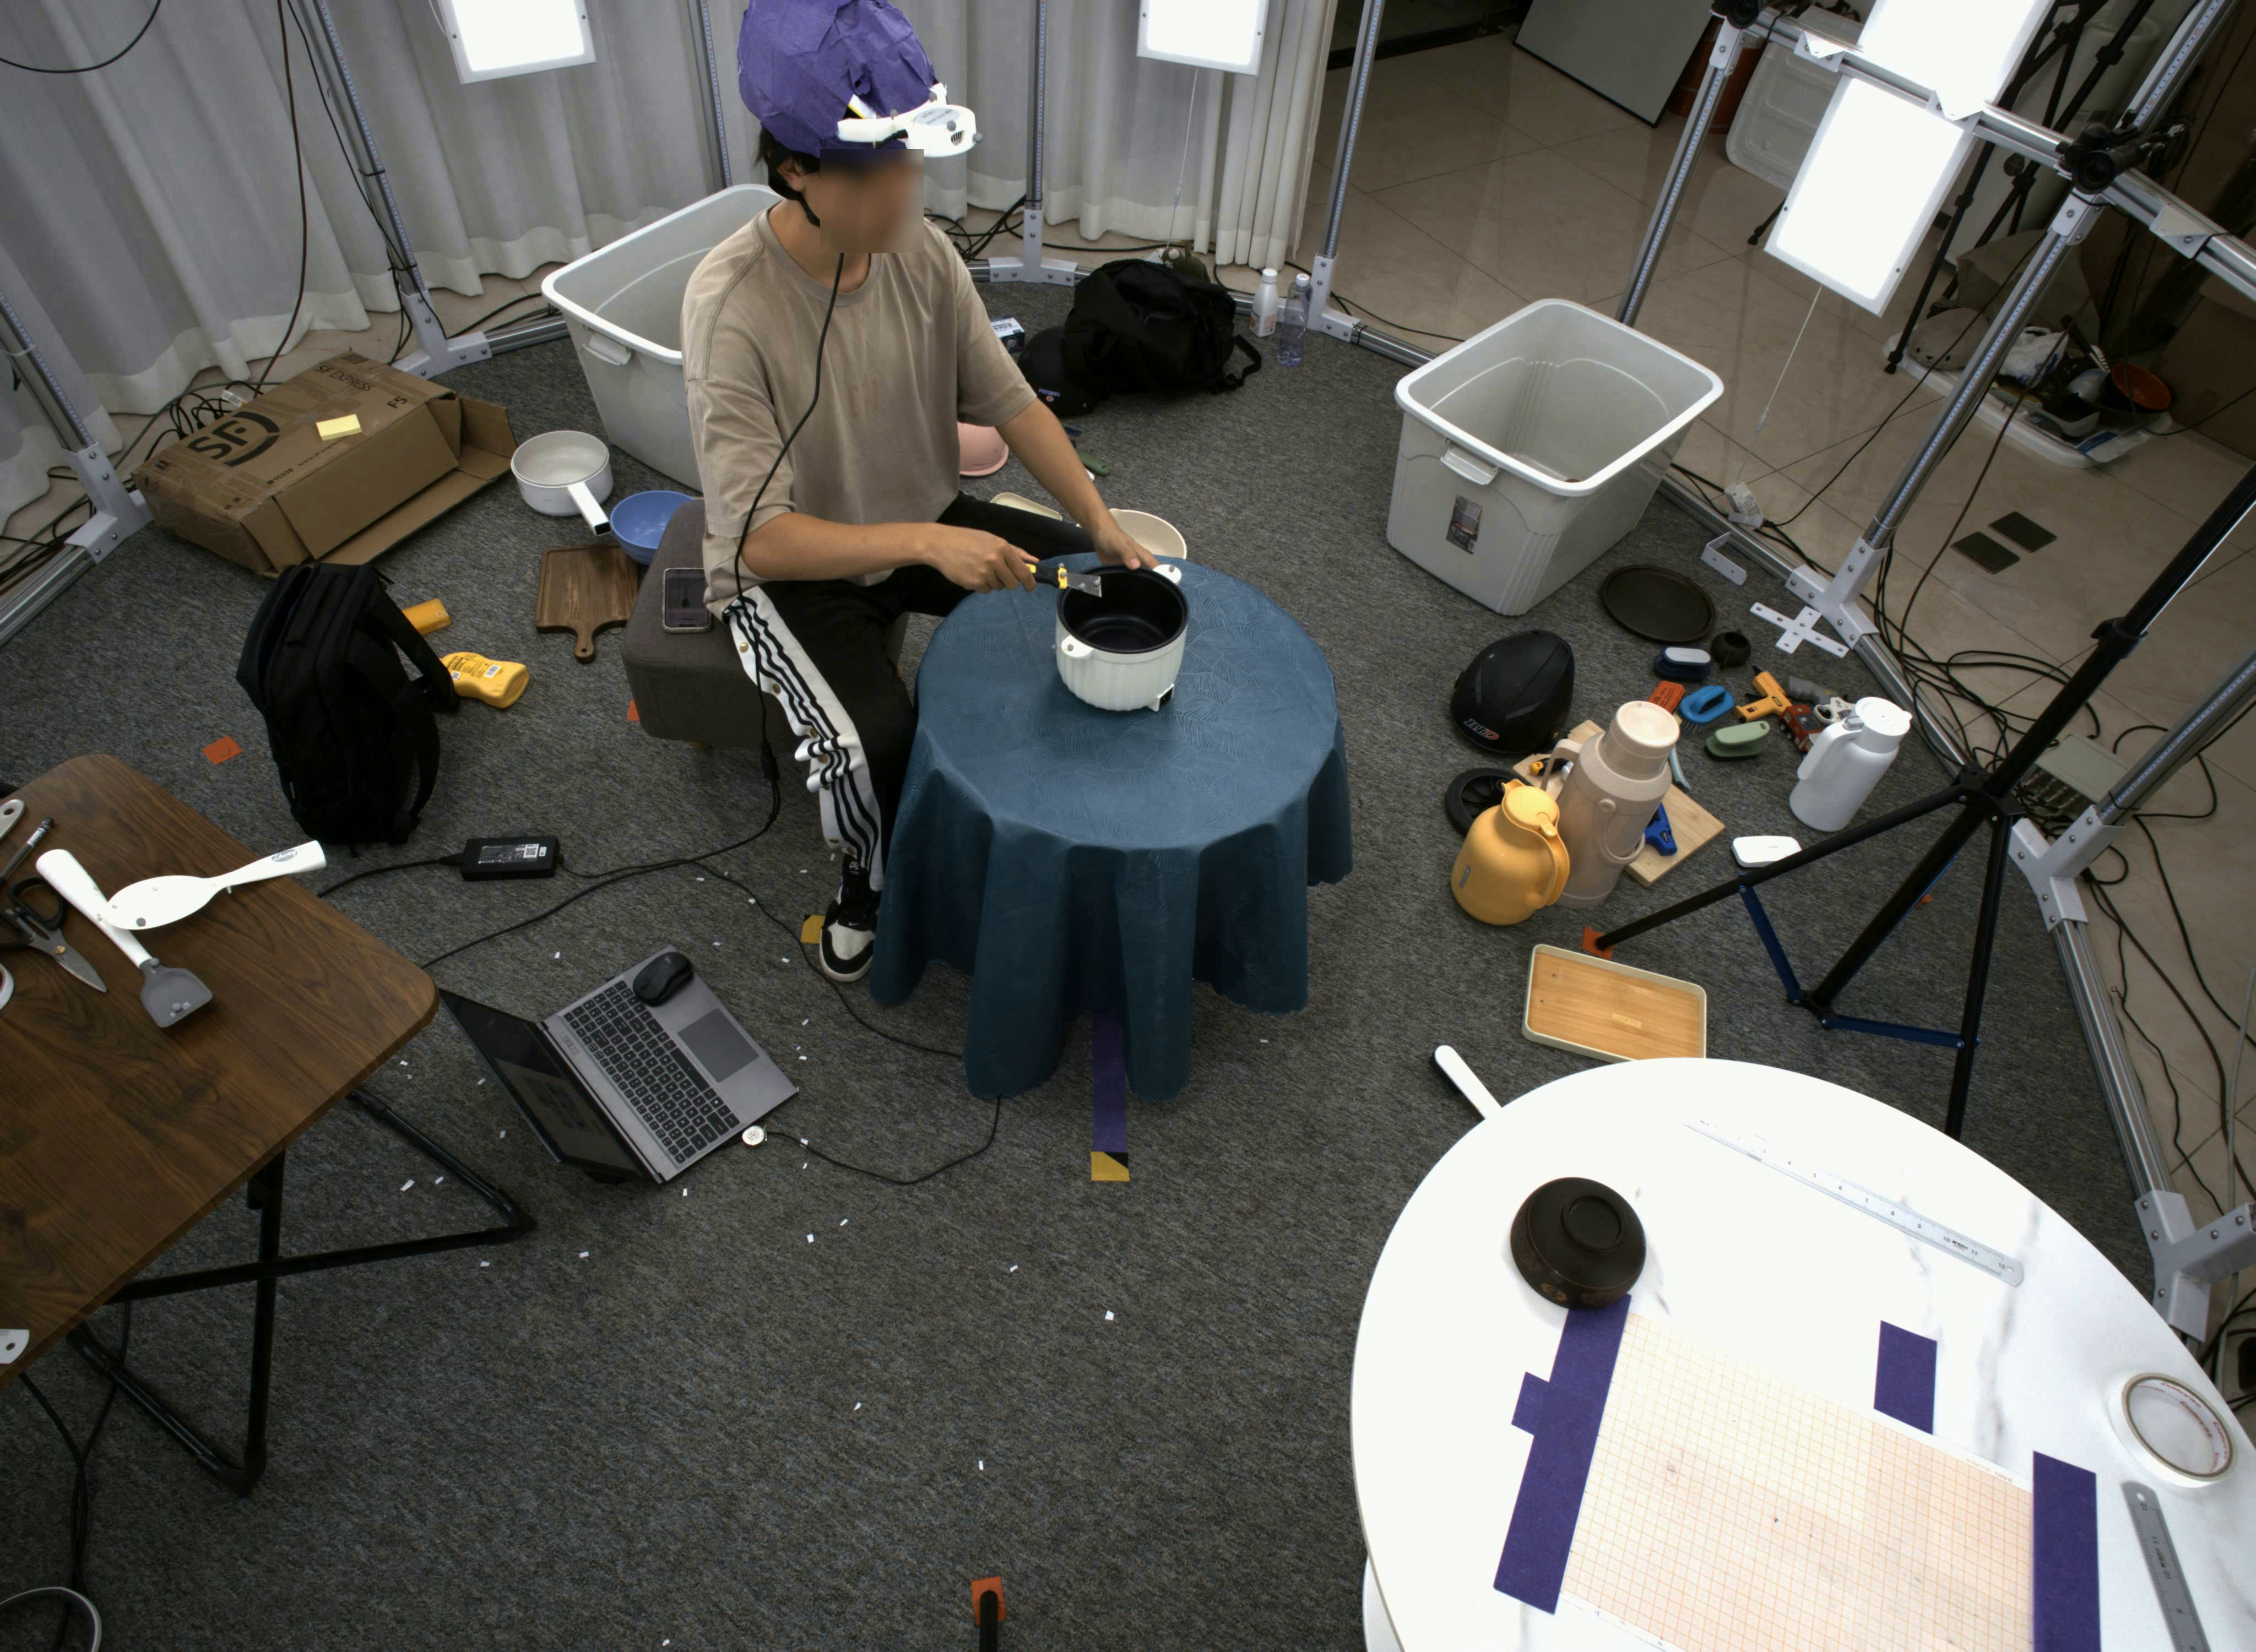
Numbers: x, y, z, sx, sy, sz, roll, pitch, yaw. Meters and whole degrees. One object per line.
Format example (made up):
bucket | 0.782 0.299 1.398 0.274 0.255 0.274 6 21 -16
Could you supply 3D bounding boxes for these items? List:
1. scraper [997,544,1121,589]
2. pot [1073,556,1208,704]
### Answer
scraper | -0.088 -0.339 1.678 0.170 0.015 0.039 6 65 -21
pot | 0.008 -0.269 1.798 0.192 0.139 0.243 34 53 18
